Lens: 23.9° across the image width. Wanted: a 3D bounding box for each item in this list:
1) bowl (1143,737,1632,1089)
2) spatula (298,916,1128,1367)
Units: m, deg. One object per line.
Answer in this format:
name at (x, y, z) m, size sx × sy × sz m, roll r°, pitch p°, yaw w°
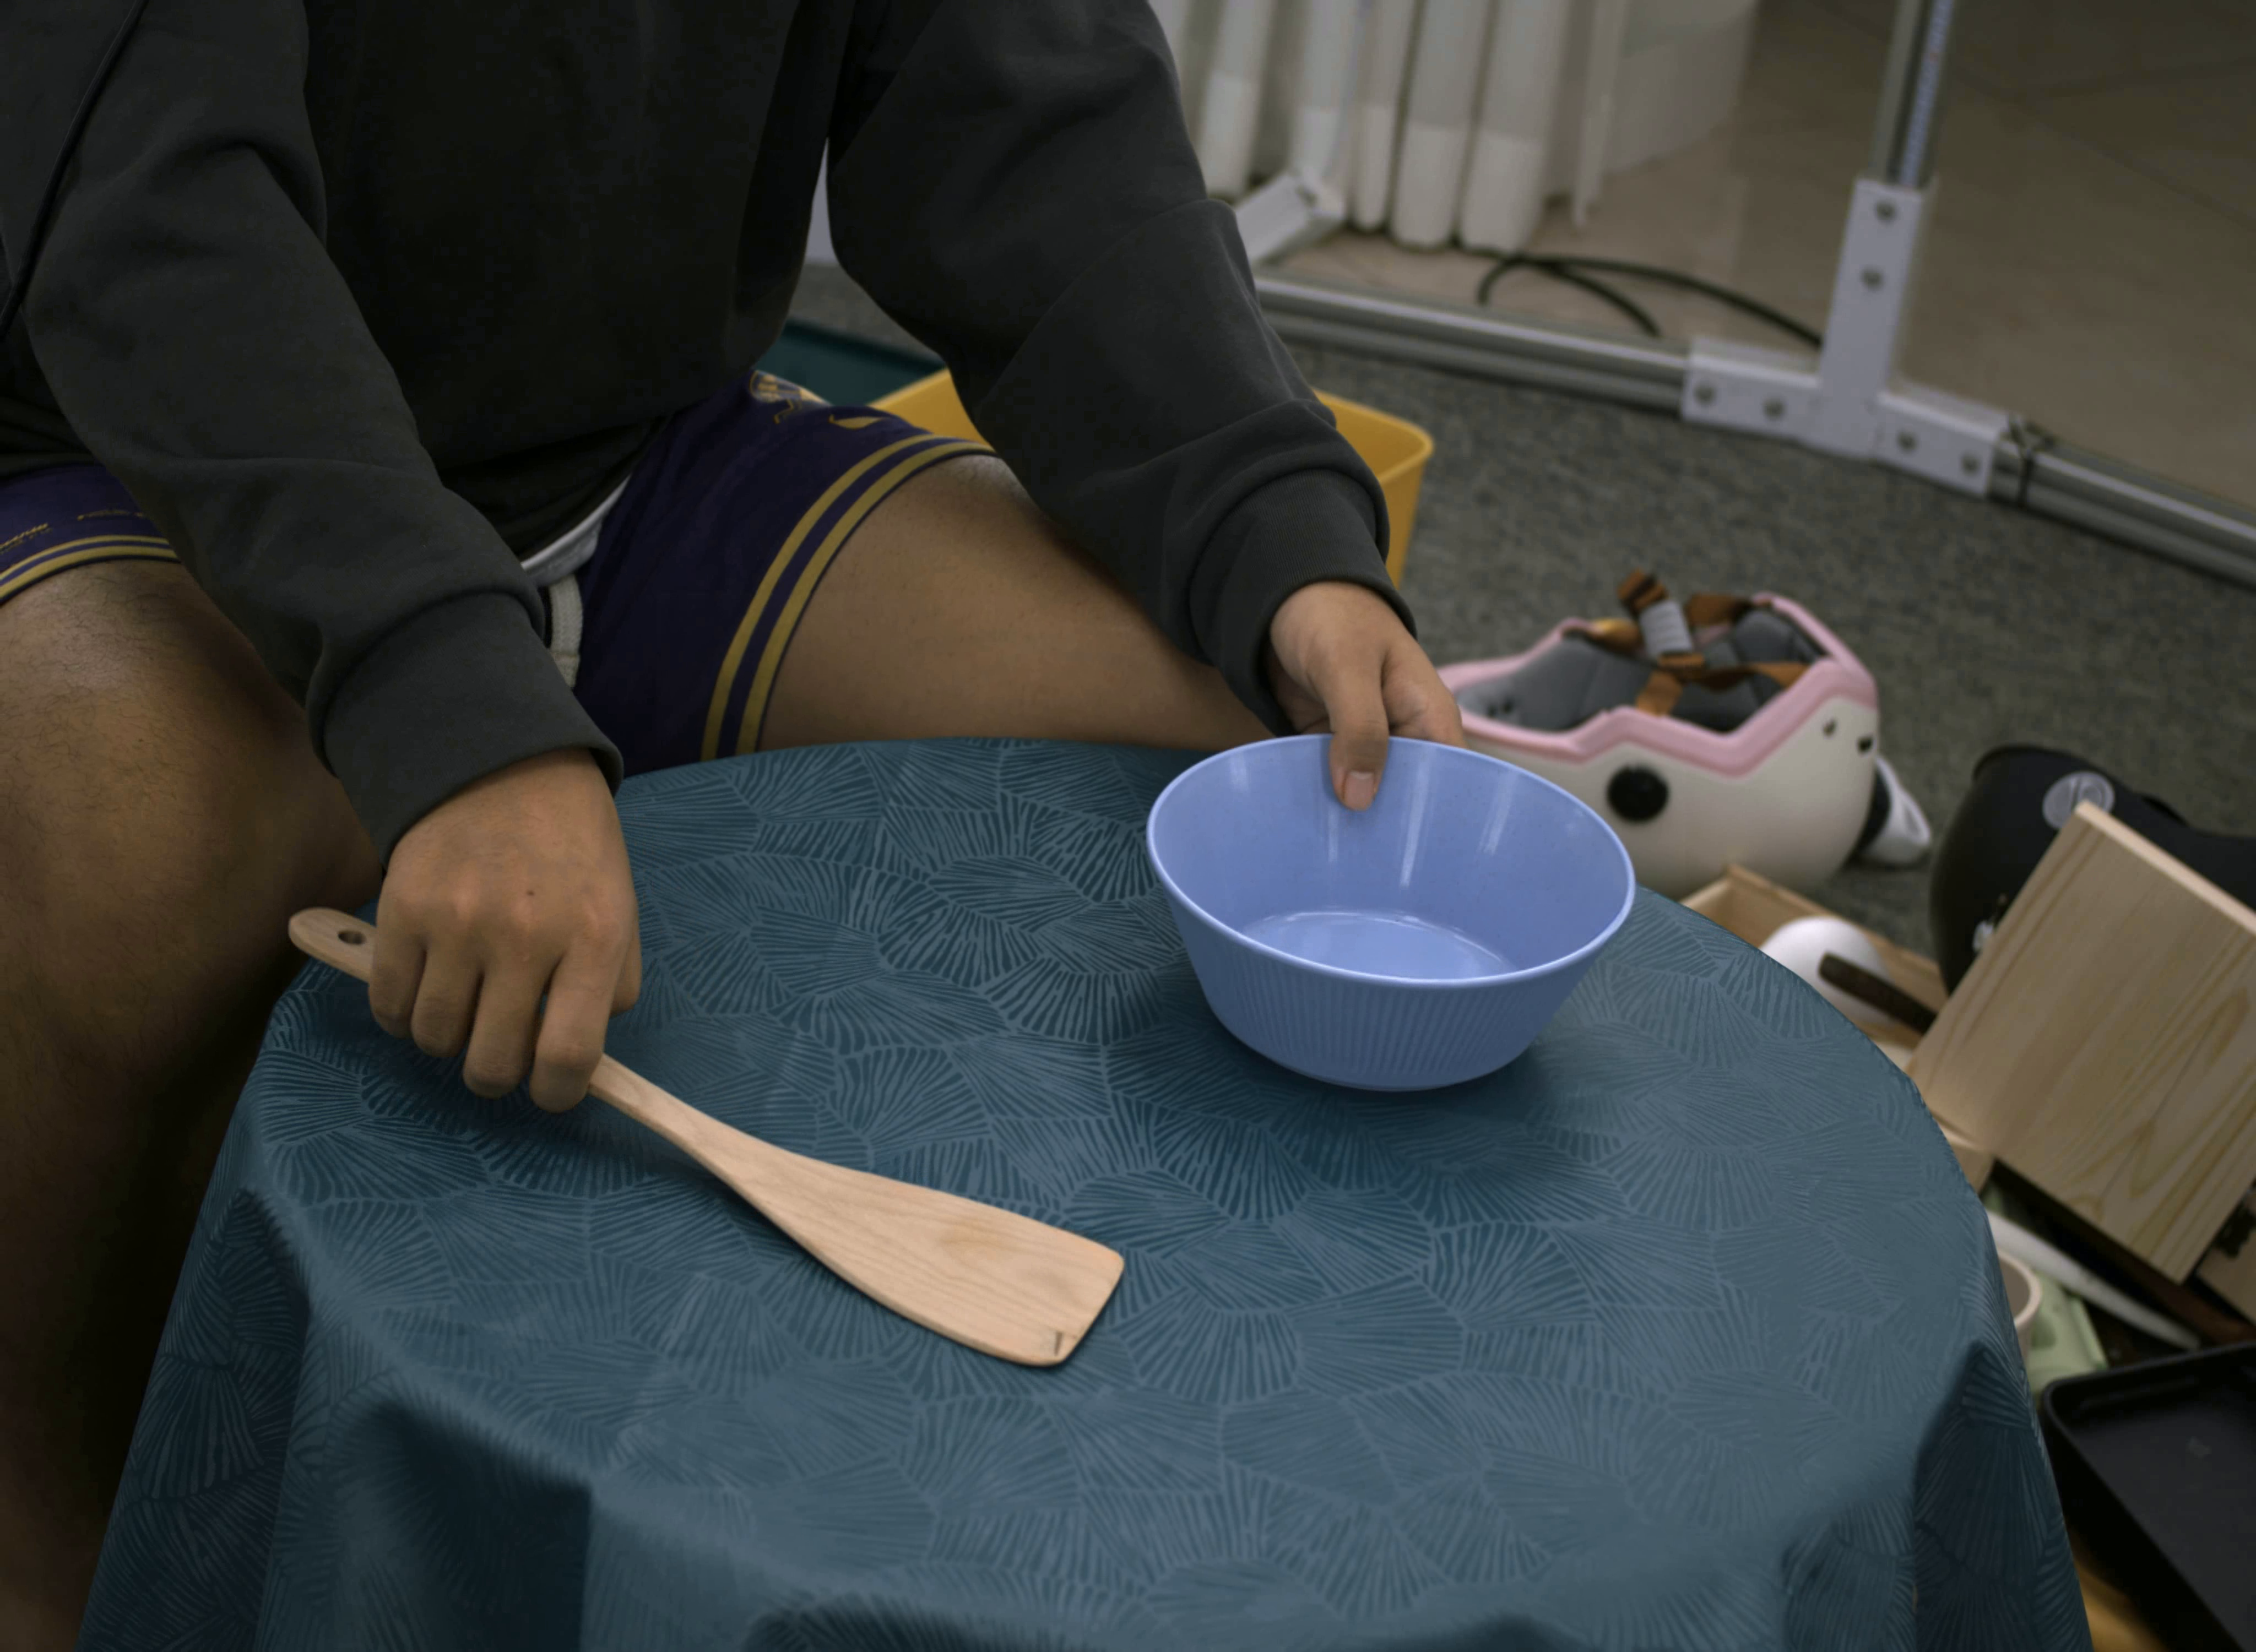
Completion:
bowl at (0.089, 0.037, 1.910) m, size 0.175 × 0.070 × 0.177 m, roll 5°, pitch 29°, yaw -3°
spatula at (-0.145, 0.098, 1.780) m, size 0.329 × 0.016 × 0.080 m, roll 26°, pitch 32°, yaw 21°
